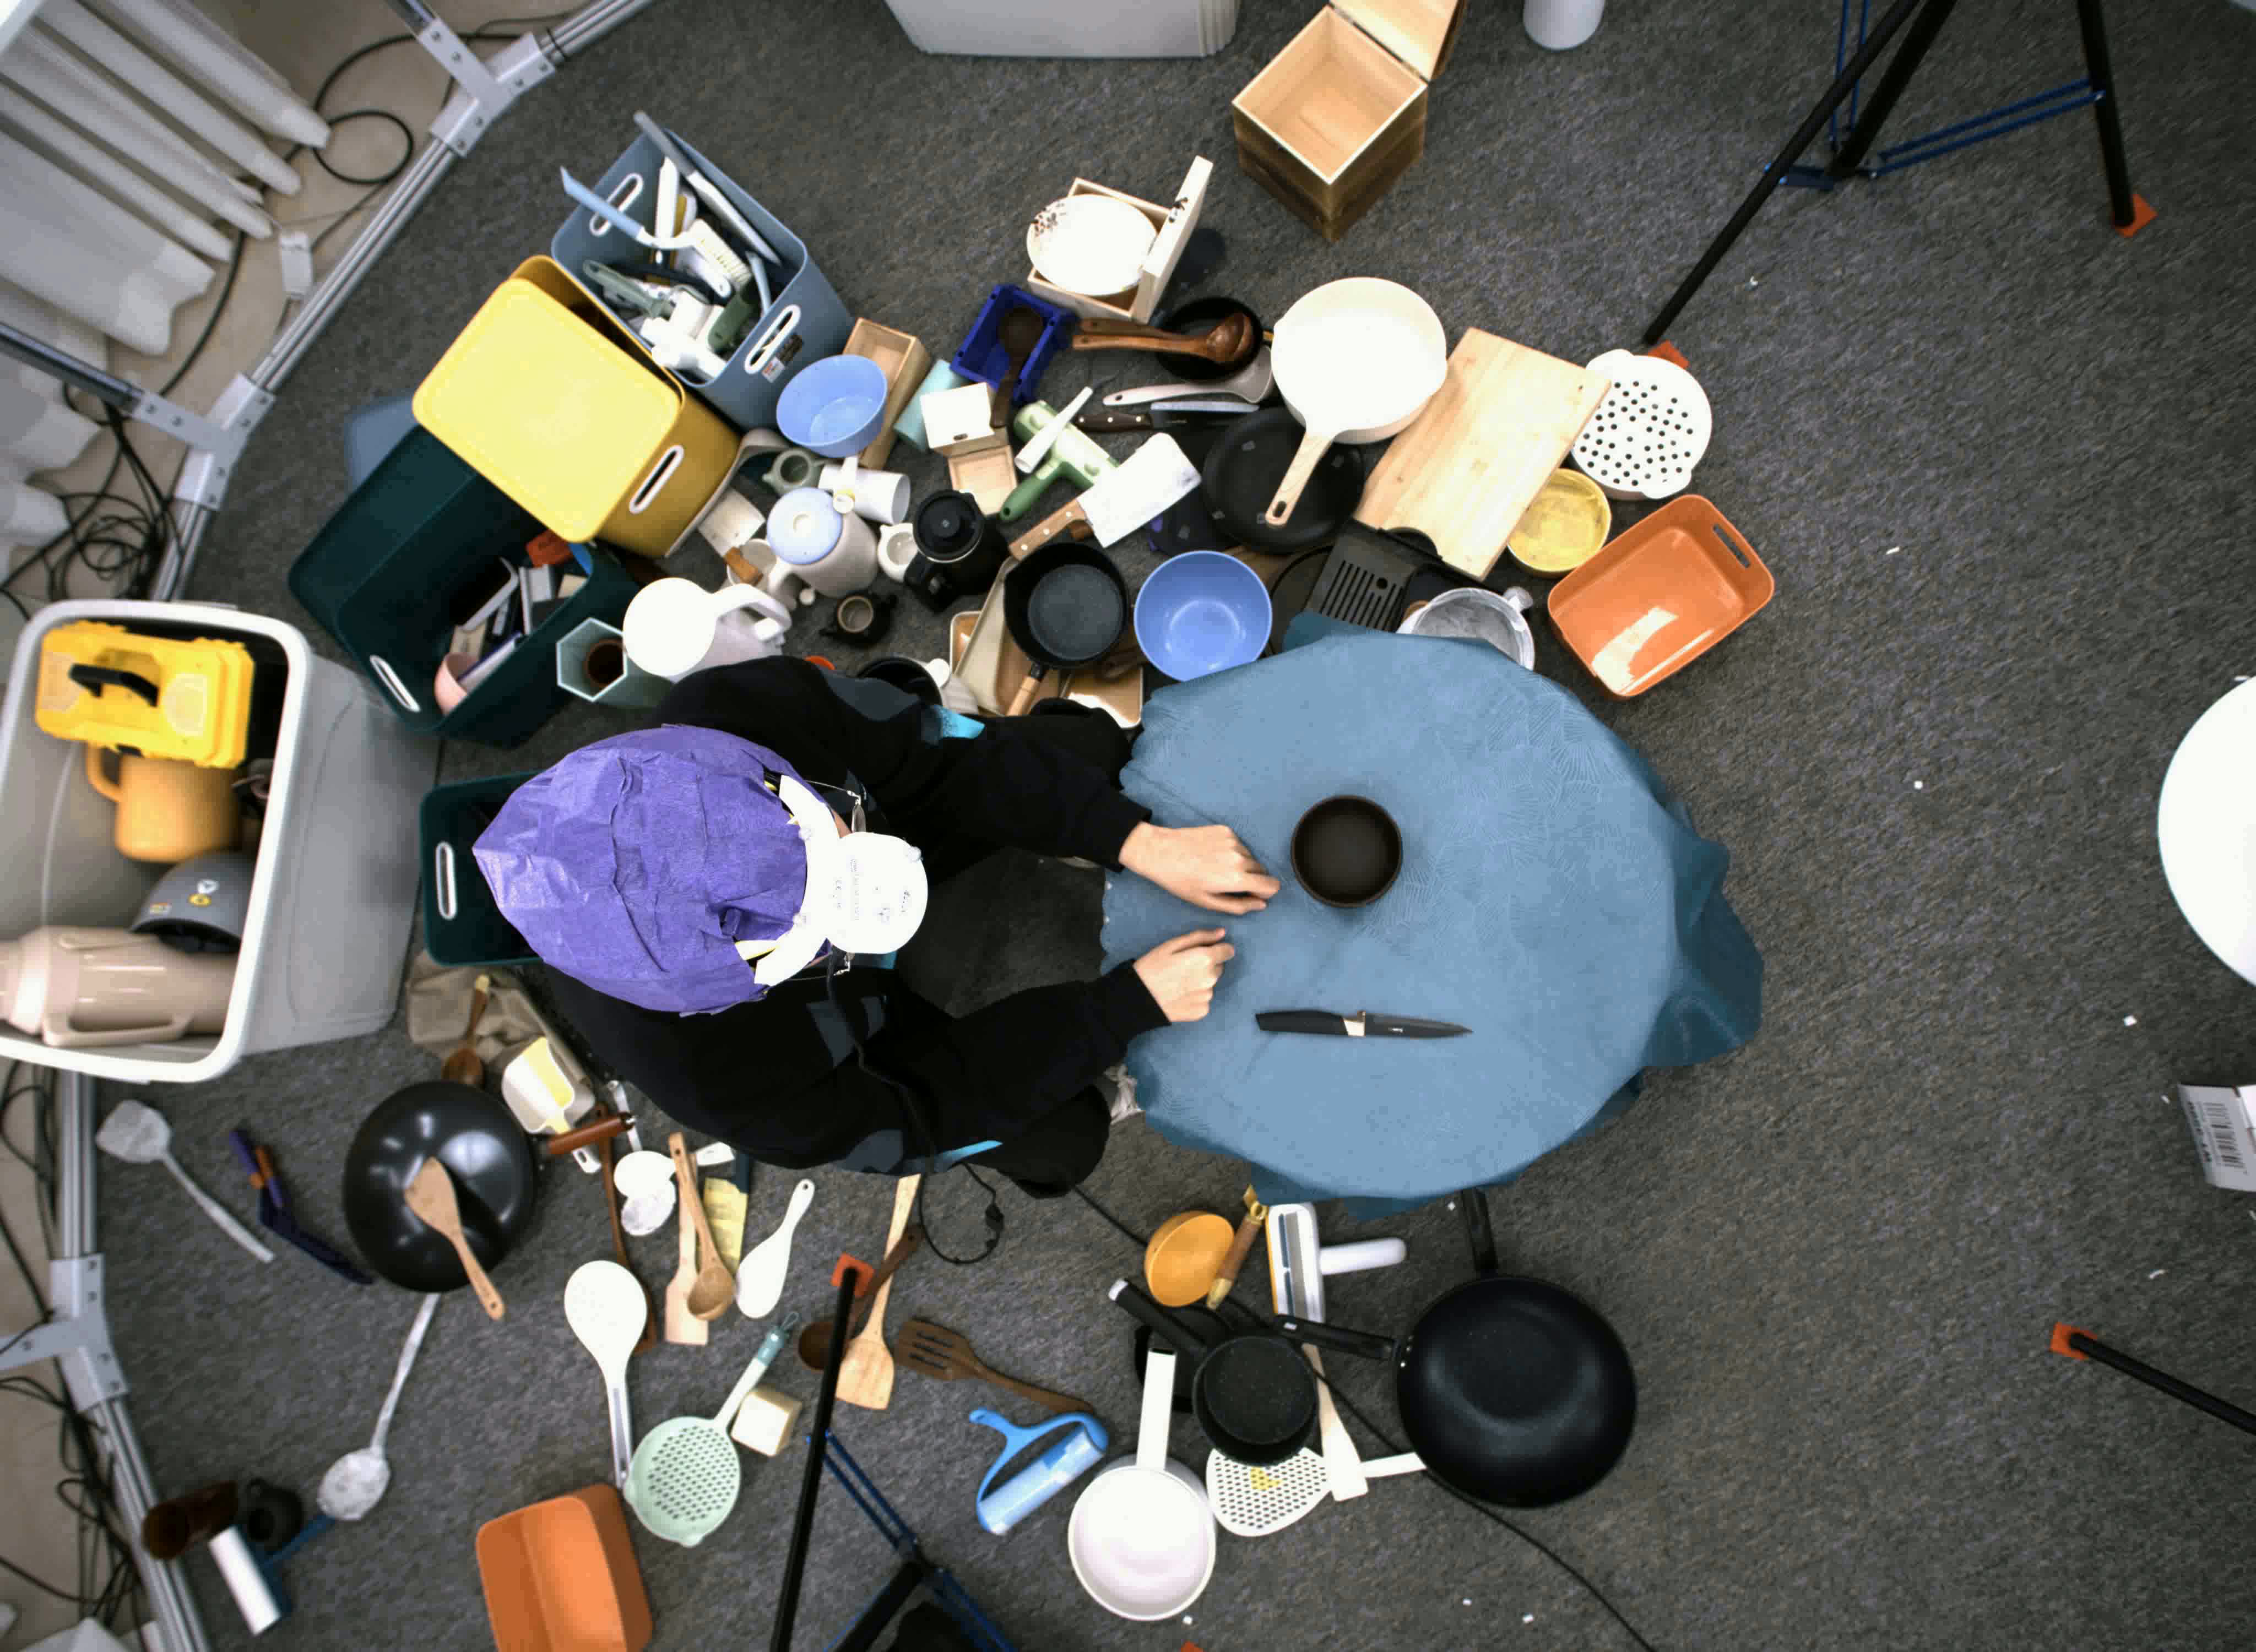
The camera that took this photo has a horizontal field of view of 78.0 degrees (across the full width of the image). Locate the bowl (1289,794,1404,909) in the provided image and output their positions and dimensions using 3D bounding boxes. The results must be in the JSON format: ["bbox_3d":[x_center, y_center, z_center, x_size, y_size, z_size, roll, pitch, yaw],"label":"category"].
[{"bbox_3d":[0.227,0.028,1.432,0.118,0.070,0.117,-1,84,11],"label":"bowl"}]

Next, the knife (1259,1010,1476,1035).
[{"bbox_3d":[0.250,0.204,1.451,0.226,0.017,0.026,0,78,9],"label":"knife"}]
